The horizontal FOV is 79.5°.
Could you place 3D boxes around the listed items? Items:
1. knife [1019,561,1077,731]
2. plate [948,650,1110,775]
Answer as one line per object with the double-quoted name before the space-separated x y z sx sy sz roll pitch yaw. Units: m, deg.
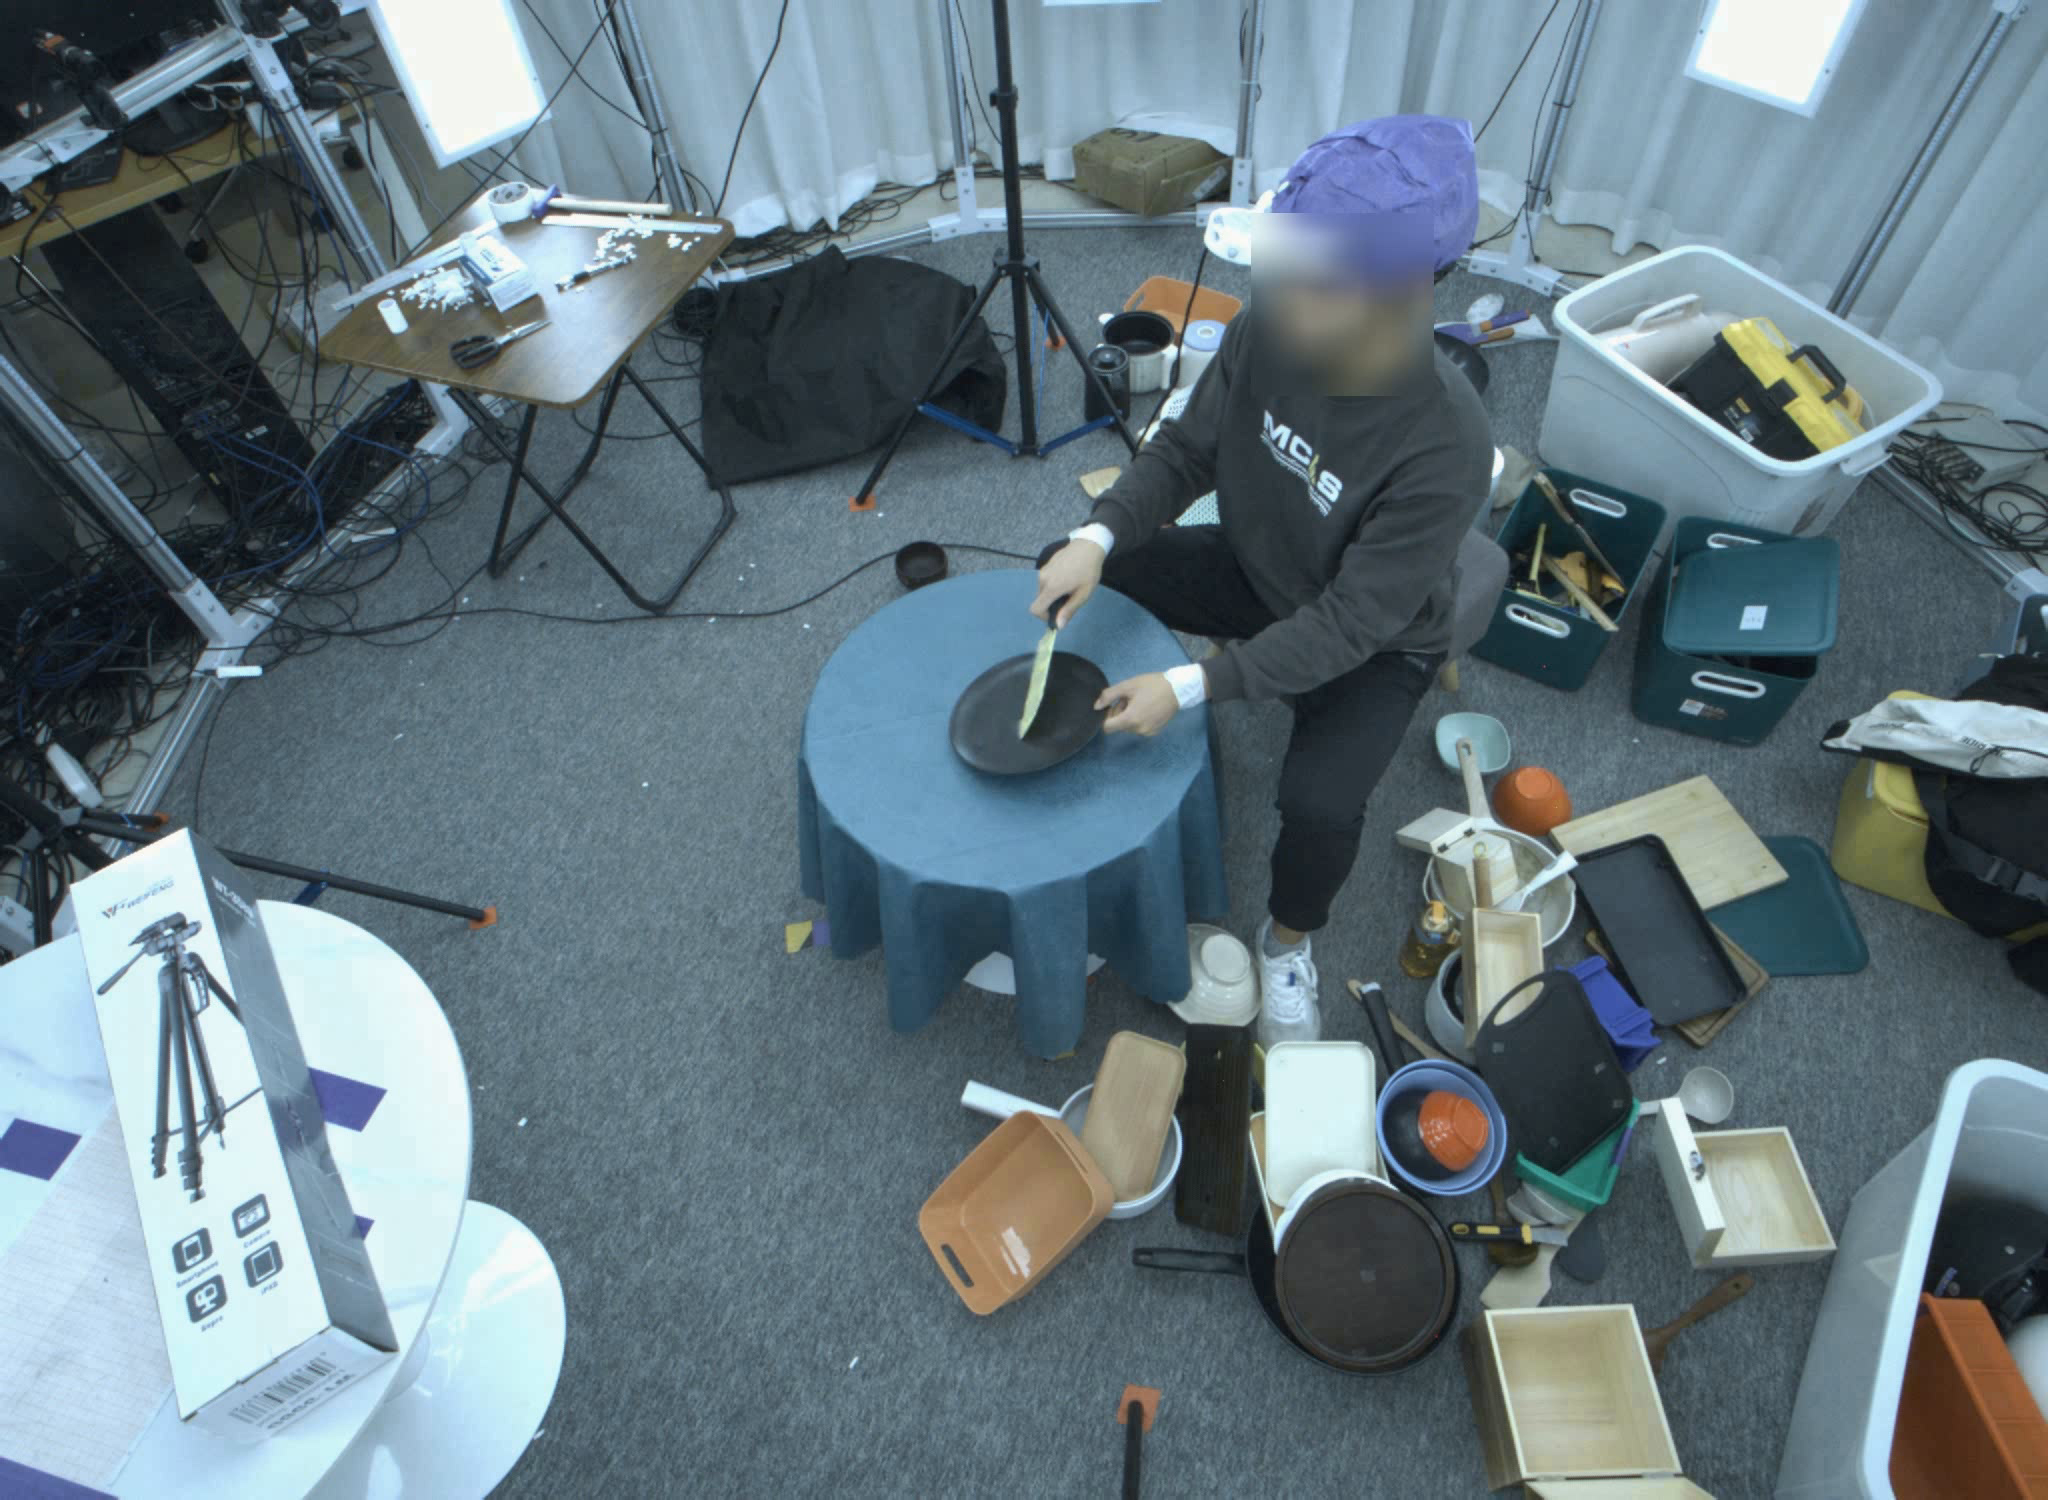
"knife" 0.032 -0.154 1.810 0.027 0.080 0.288 23 65 -16
"plate" 0.008 -0.053 1.792 0.242 0.024 0.242 -9 47 11
